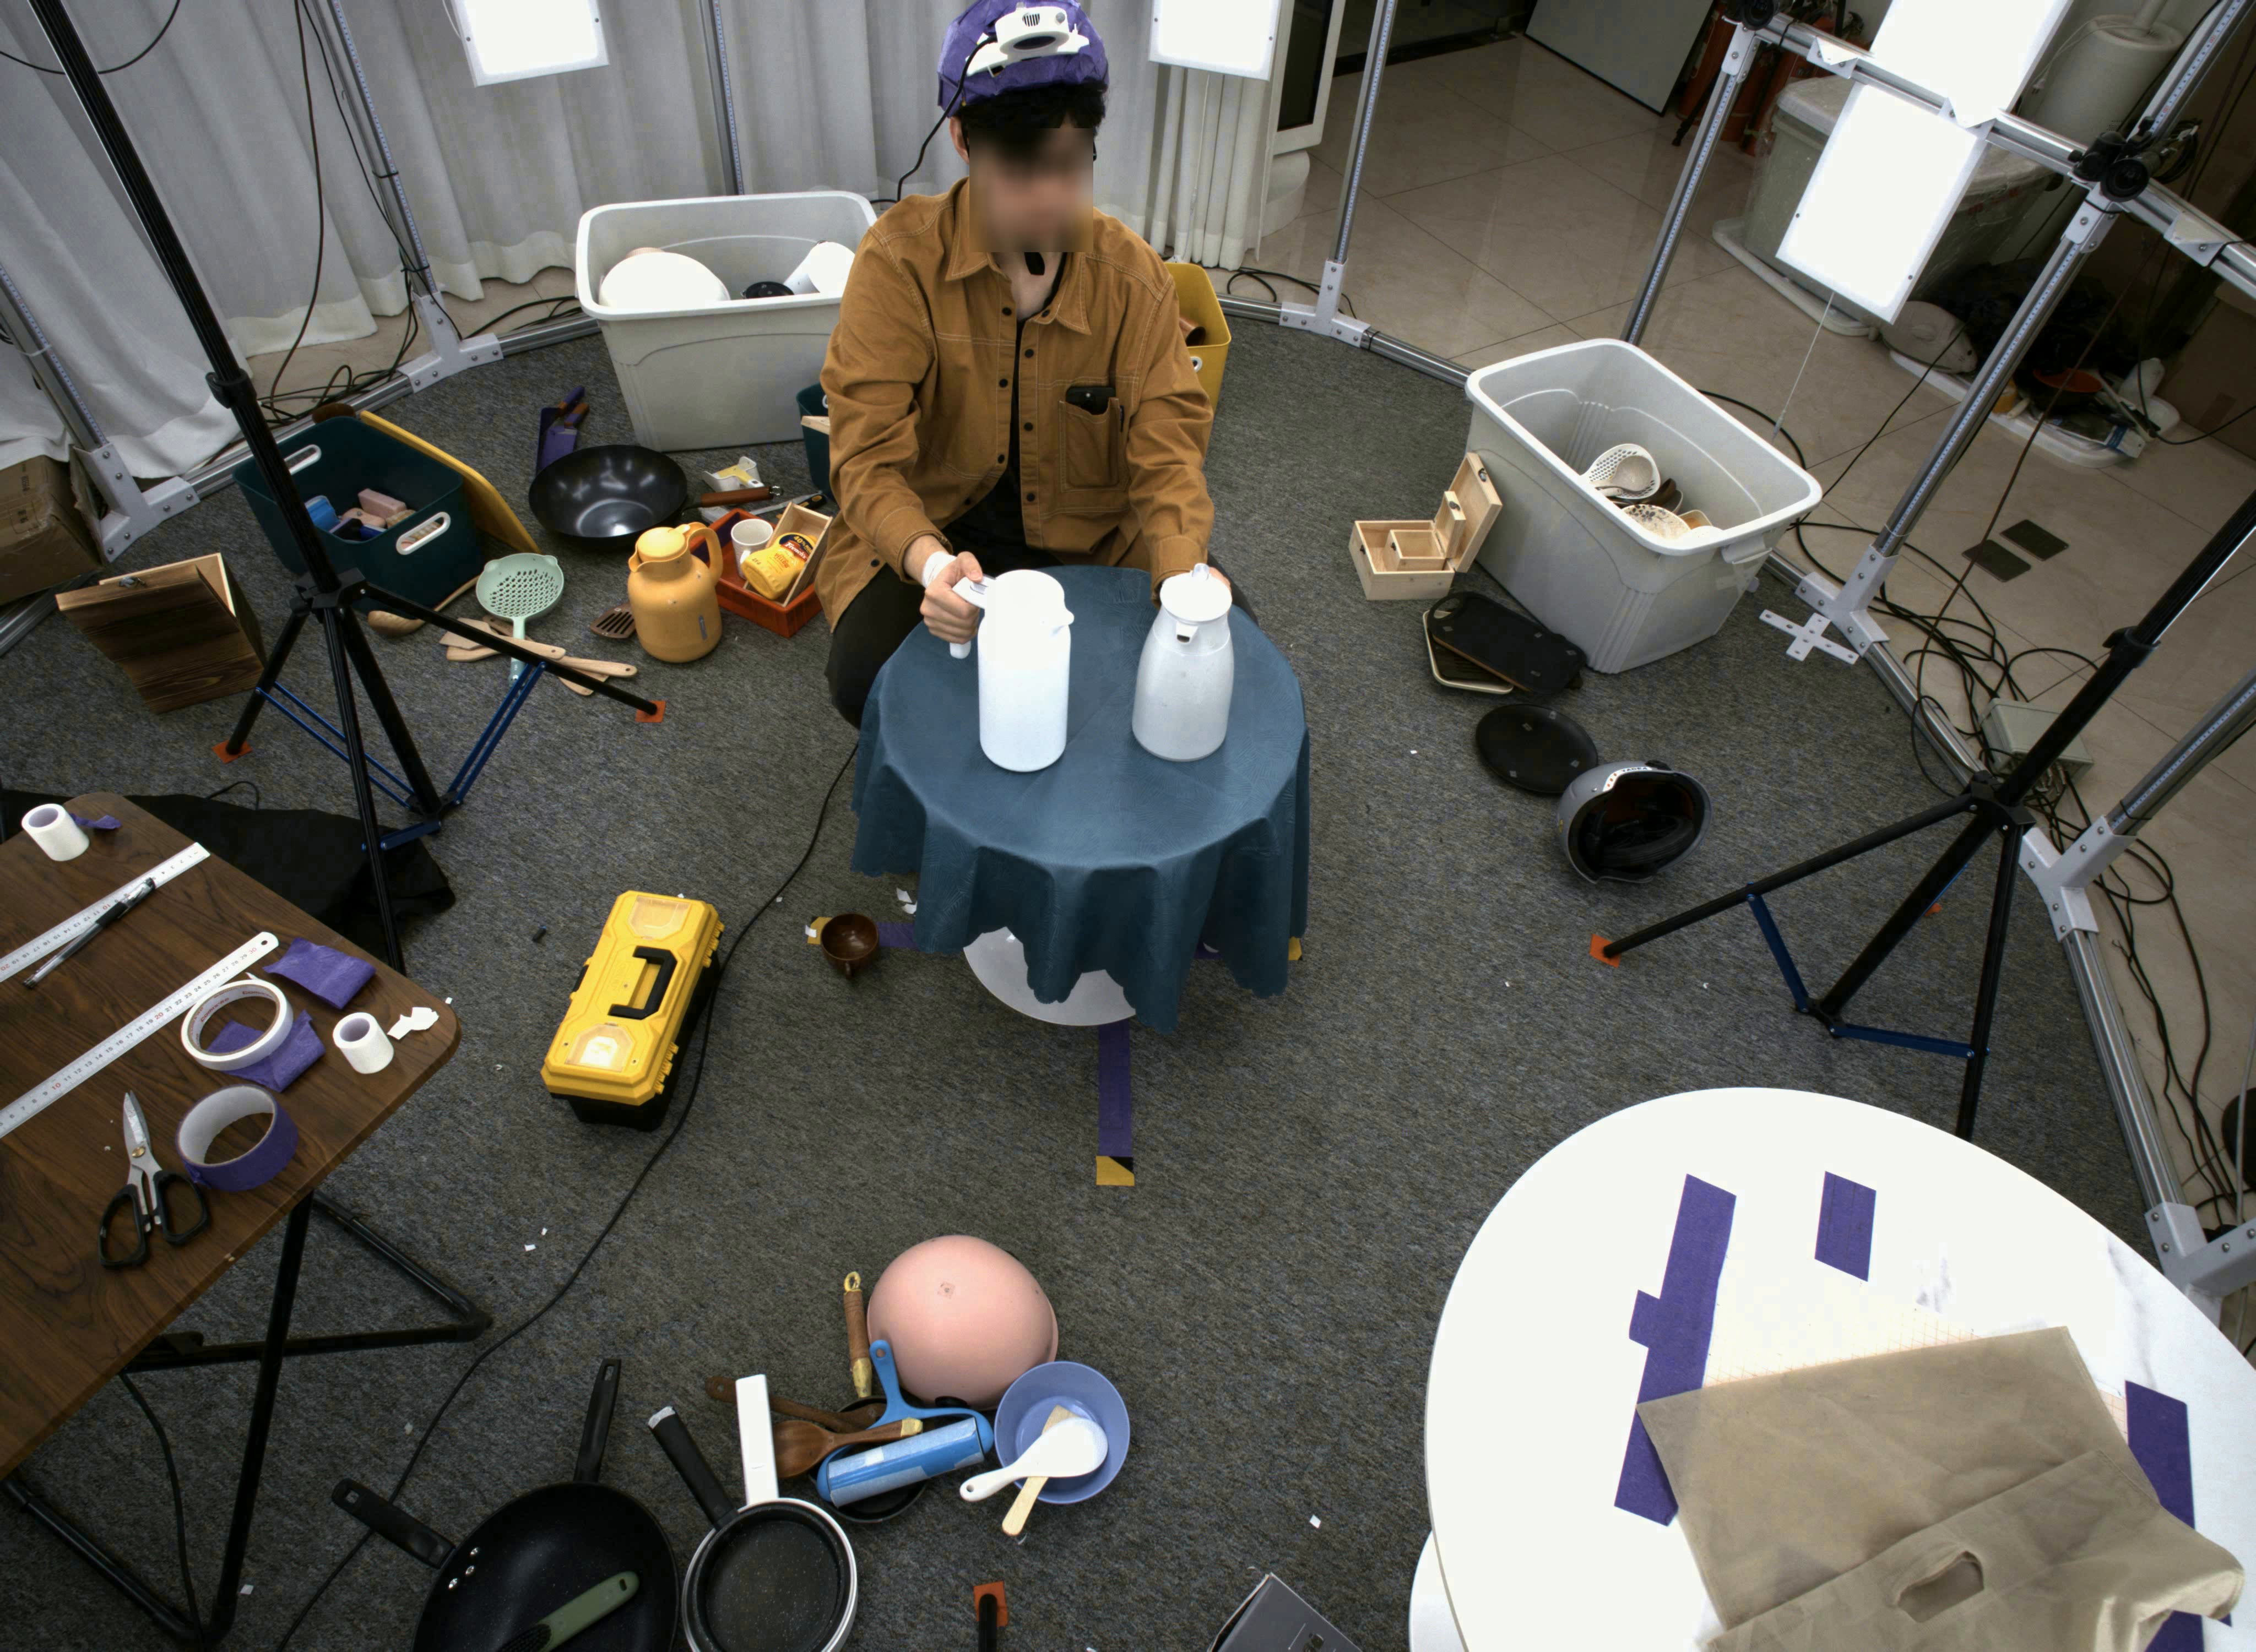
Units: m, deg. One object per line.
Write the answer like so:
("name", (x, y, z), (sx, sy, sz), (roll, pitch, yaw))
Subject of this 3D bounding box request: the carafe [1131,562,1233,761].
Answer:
("carafe", (0.081, -0.231, 1.714), (0.133, 0.242, 0.171), (13, 49, 7))

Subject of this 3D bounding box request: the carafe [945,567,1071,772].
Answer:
("carafe", (-0.153, -0.202, 1.663), (0.174, 0.262, 0.126), (23, 54, 15))
